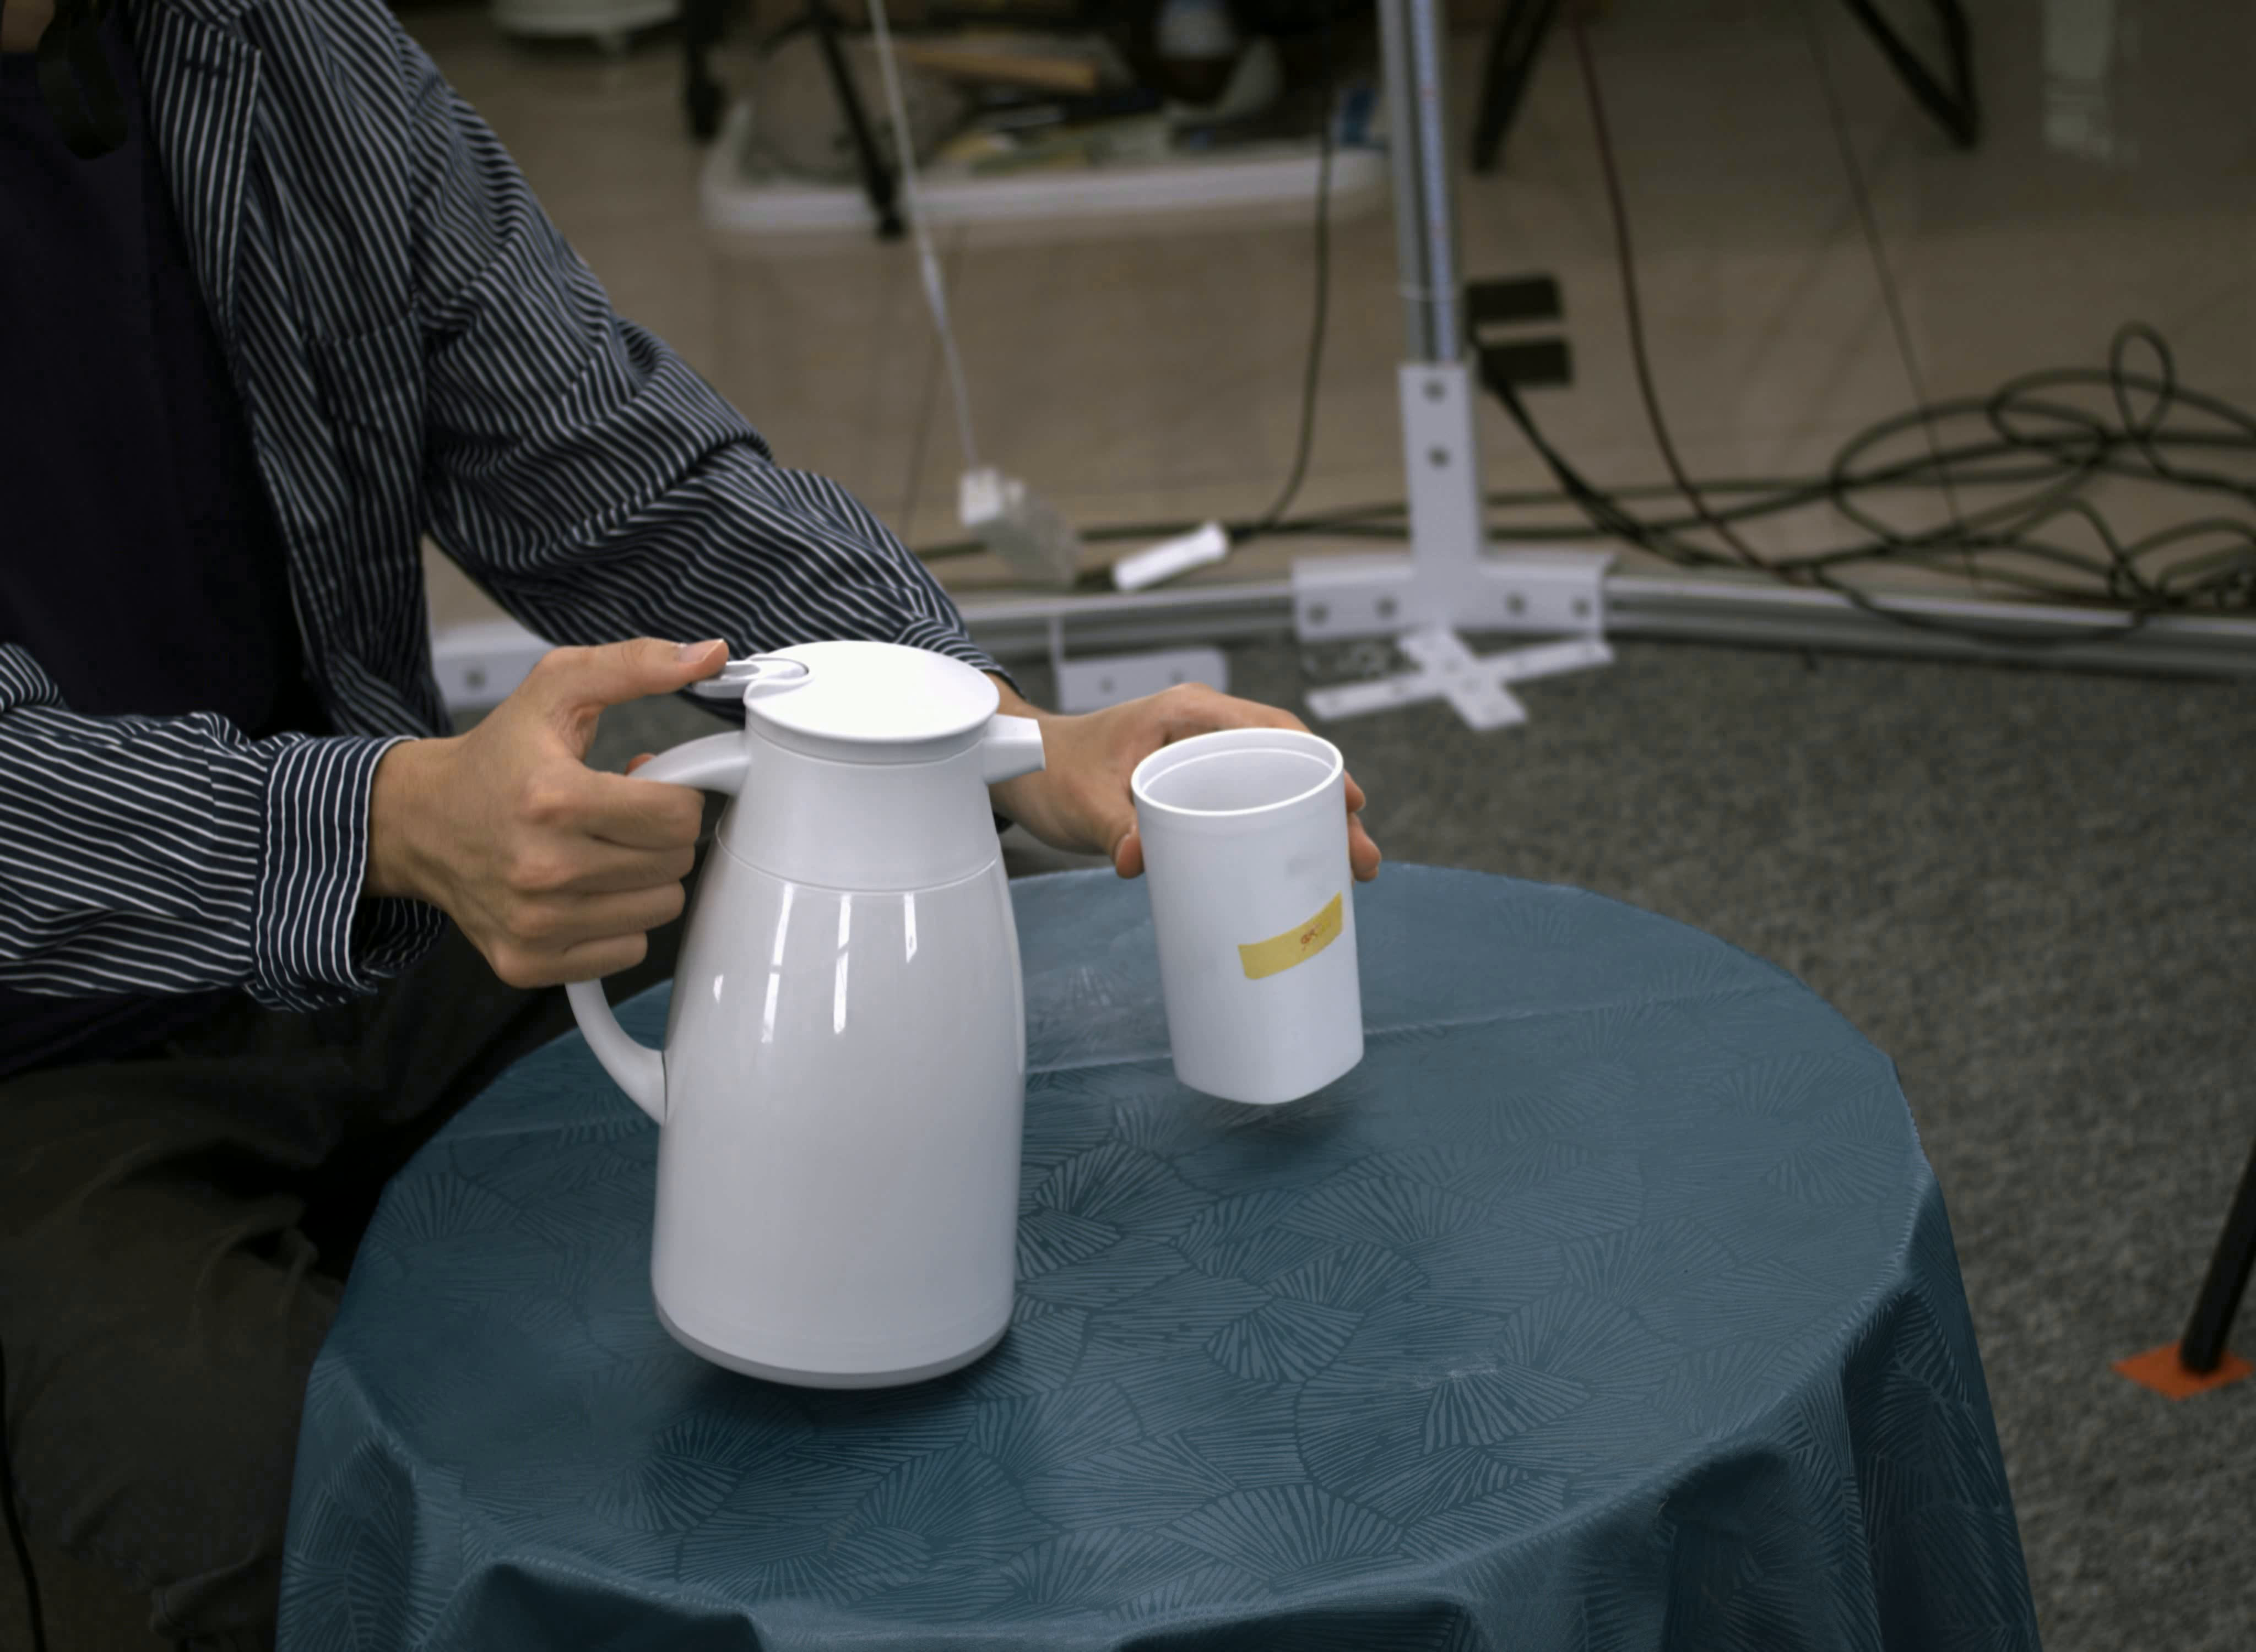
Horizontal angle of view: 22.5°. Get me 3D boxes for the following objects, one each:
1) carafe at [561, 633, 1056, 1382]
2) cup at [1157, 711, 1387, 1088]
[{"bbox_3d":[-0.118,0.057,2.001,0.167,0.252,0.130,1,26,-14],"label":"carafe"},{"bbox_3d":[0.058,0.029,2.166,0.081,0.127,0.080,-6,25,3],"label":"cup"}]
